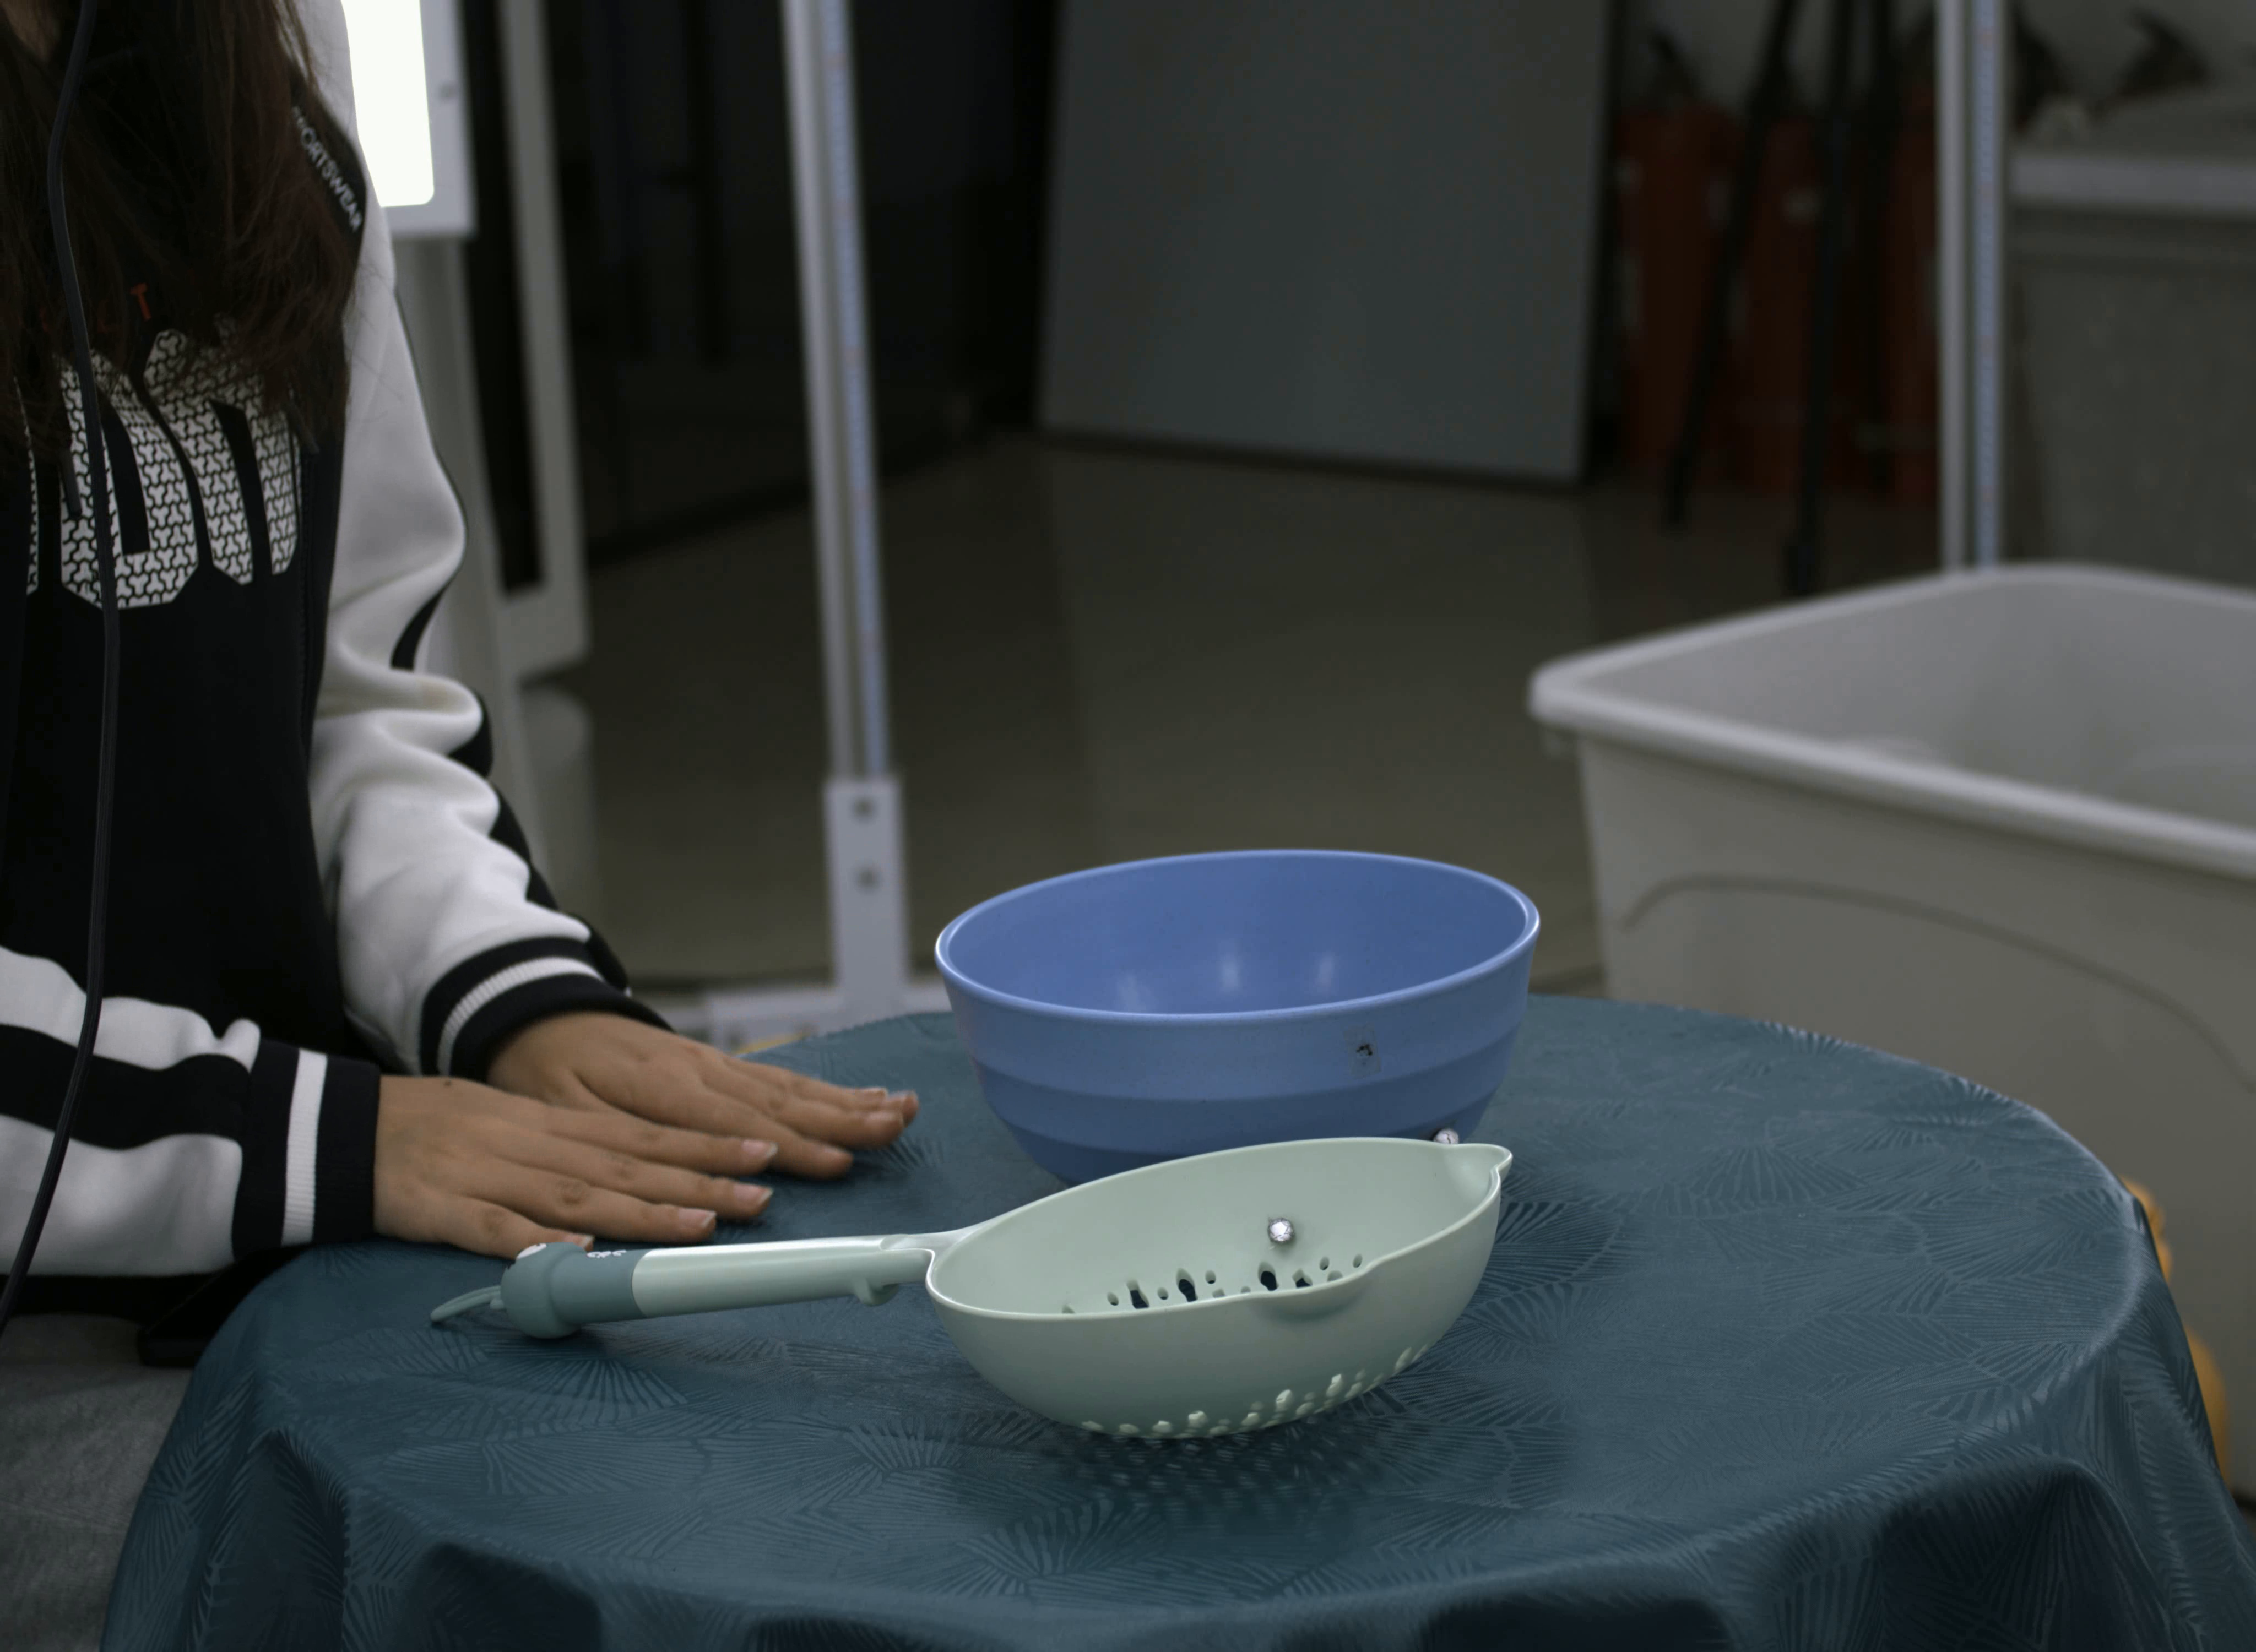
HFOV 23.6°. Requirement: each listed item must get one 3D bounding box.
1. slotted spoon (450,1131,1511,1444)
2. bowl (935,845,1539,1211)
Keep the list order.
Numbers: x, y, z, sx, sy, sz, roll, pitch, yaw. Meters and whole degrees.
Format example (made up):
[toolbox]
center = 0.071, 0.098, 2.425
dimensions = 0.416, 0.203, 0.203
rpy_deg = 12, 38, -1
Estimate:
[slotted spoon]
center = -0.057, 0.137, 1.601
dimensions = 0.360, 0.076, 0.167
rpy_deg = 1, 13, 29
[bowl]
center = 0.038, 0.078, 1.737
dimensions = 0.194, 0.096, 0.197
rpy_deg = -5, 14, 0
